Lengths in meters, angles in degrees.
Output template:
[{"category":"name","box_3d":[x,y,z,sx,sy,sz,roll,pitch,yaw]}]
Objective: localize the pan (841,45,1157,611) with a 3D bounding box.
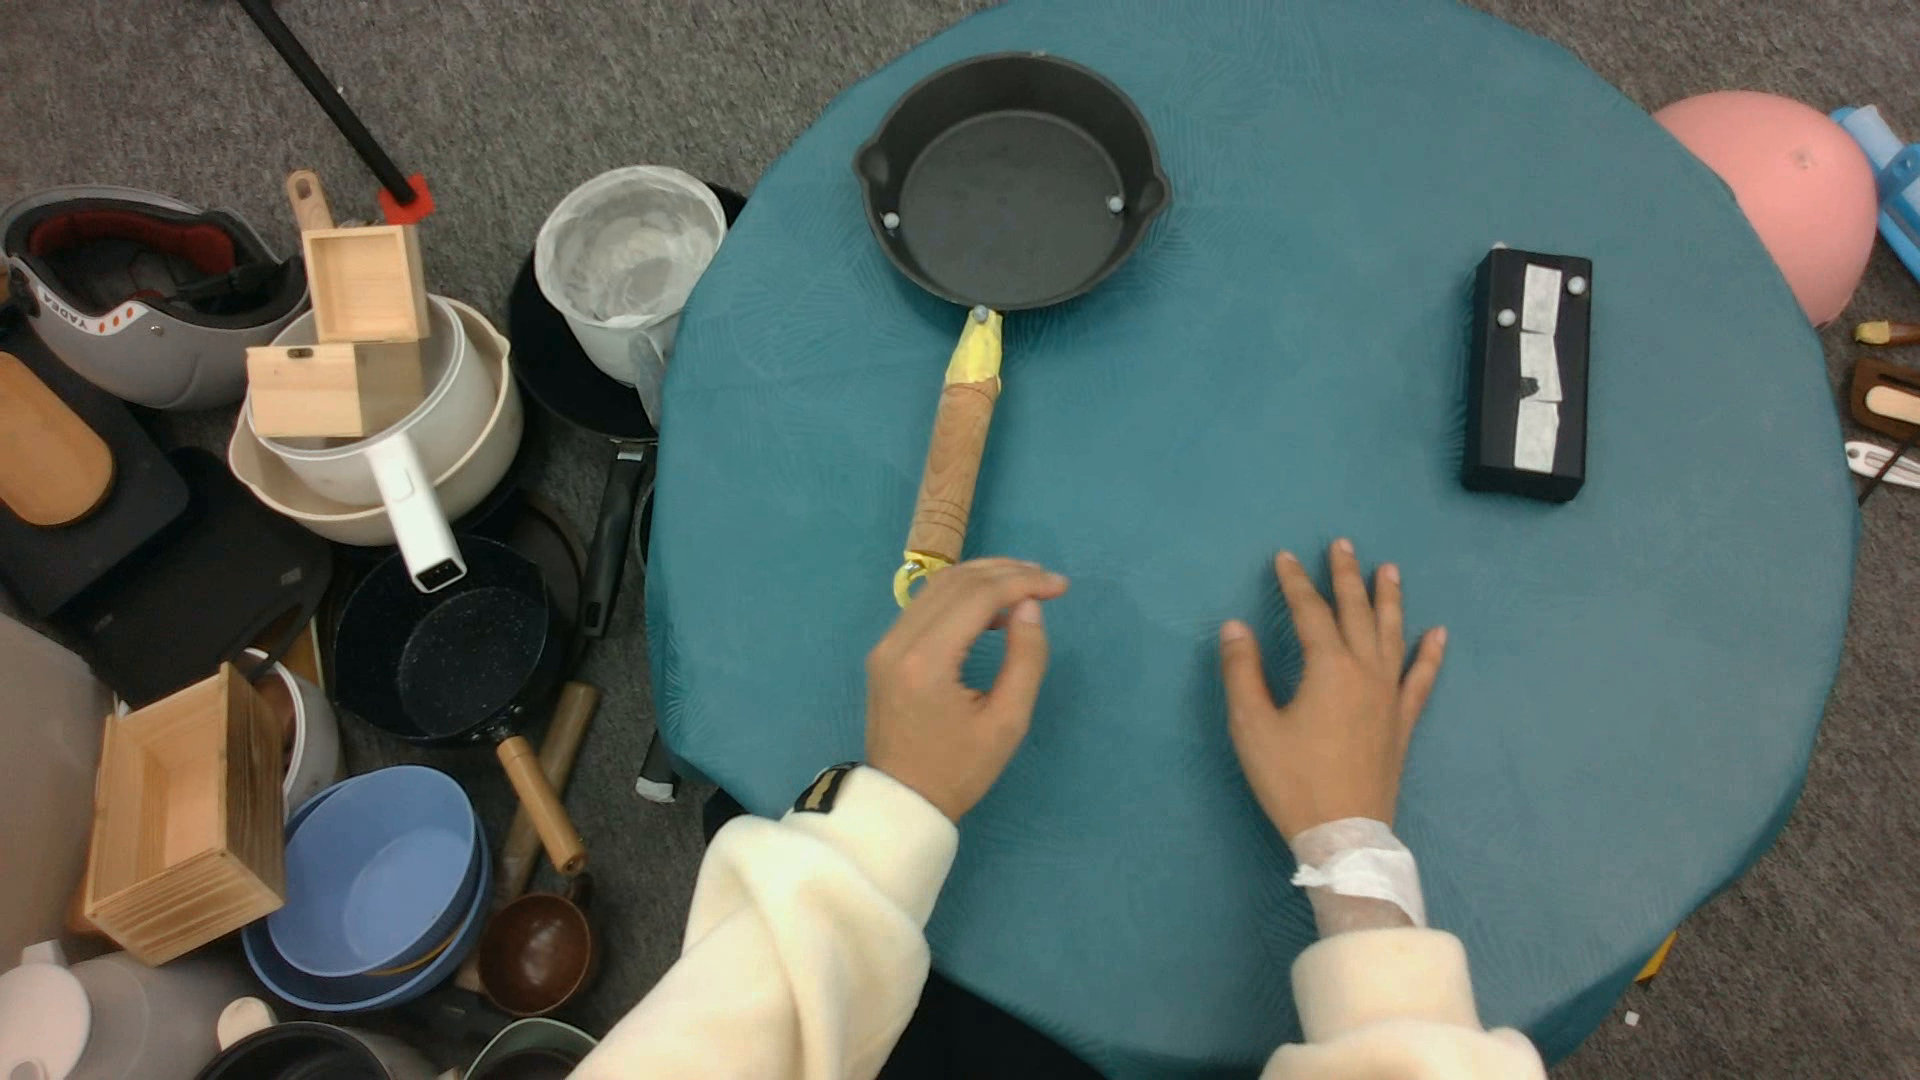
[{"category":"pan","box_3d":[0.003,-0.115,0.703,0.169,0.049,0.325,11,70,5]}]

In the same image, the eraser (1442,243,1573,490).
[{"category":"eraser","box_3d":[0.275,-0.089,0.694,0.053,0.030,0.126,9,72,7]}]
